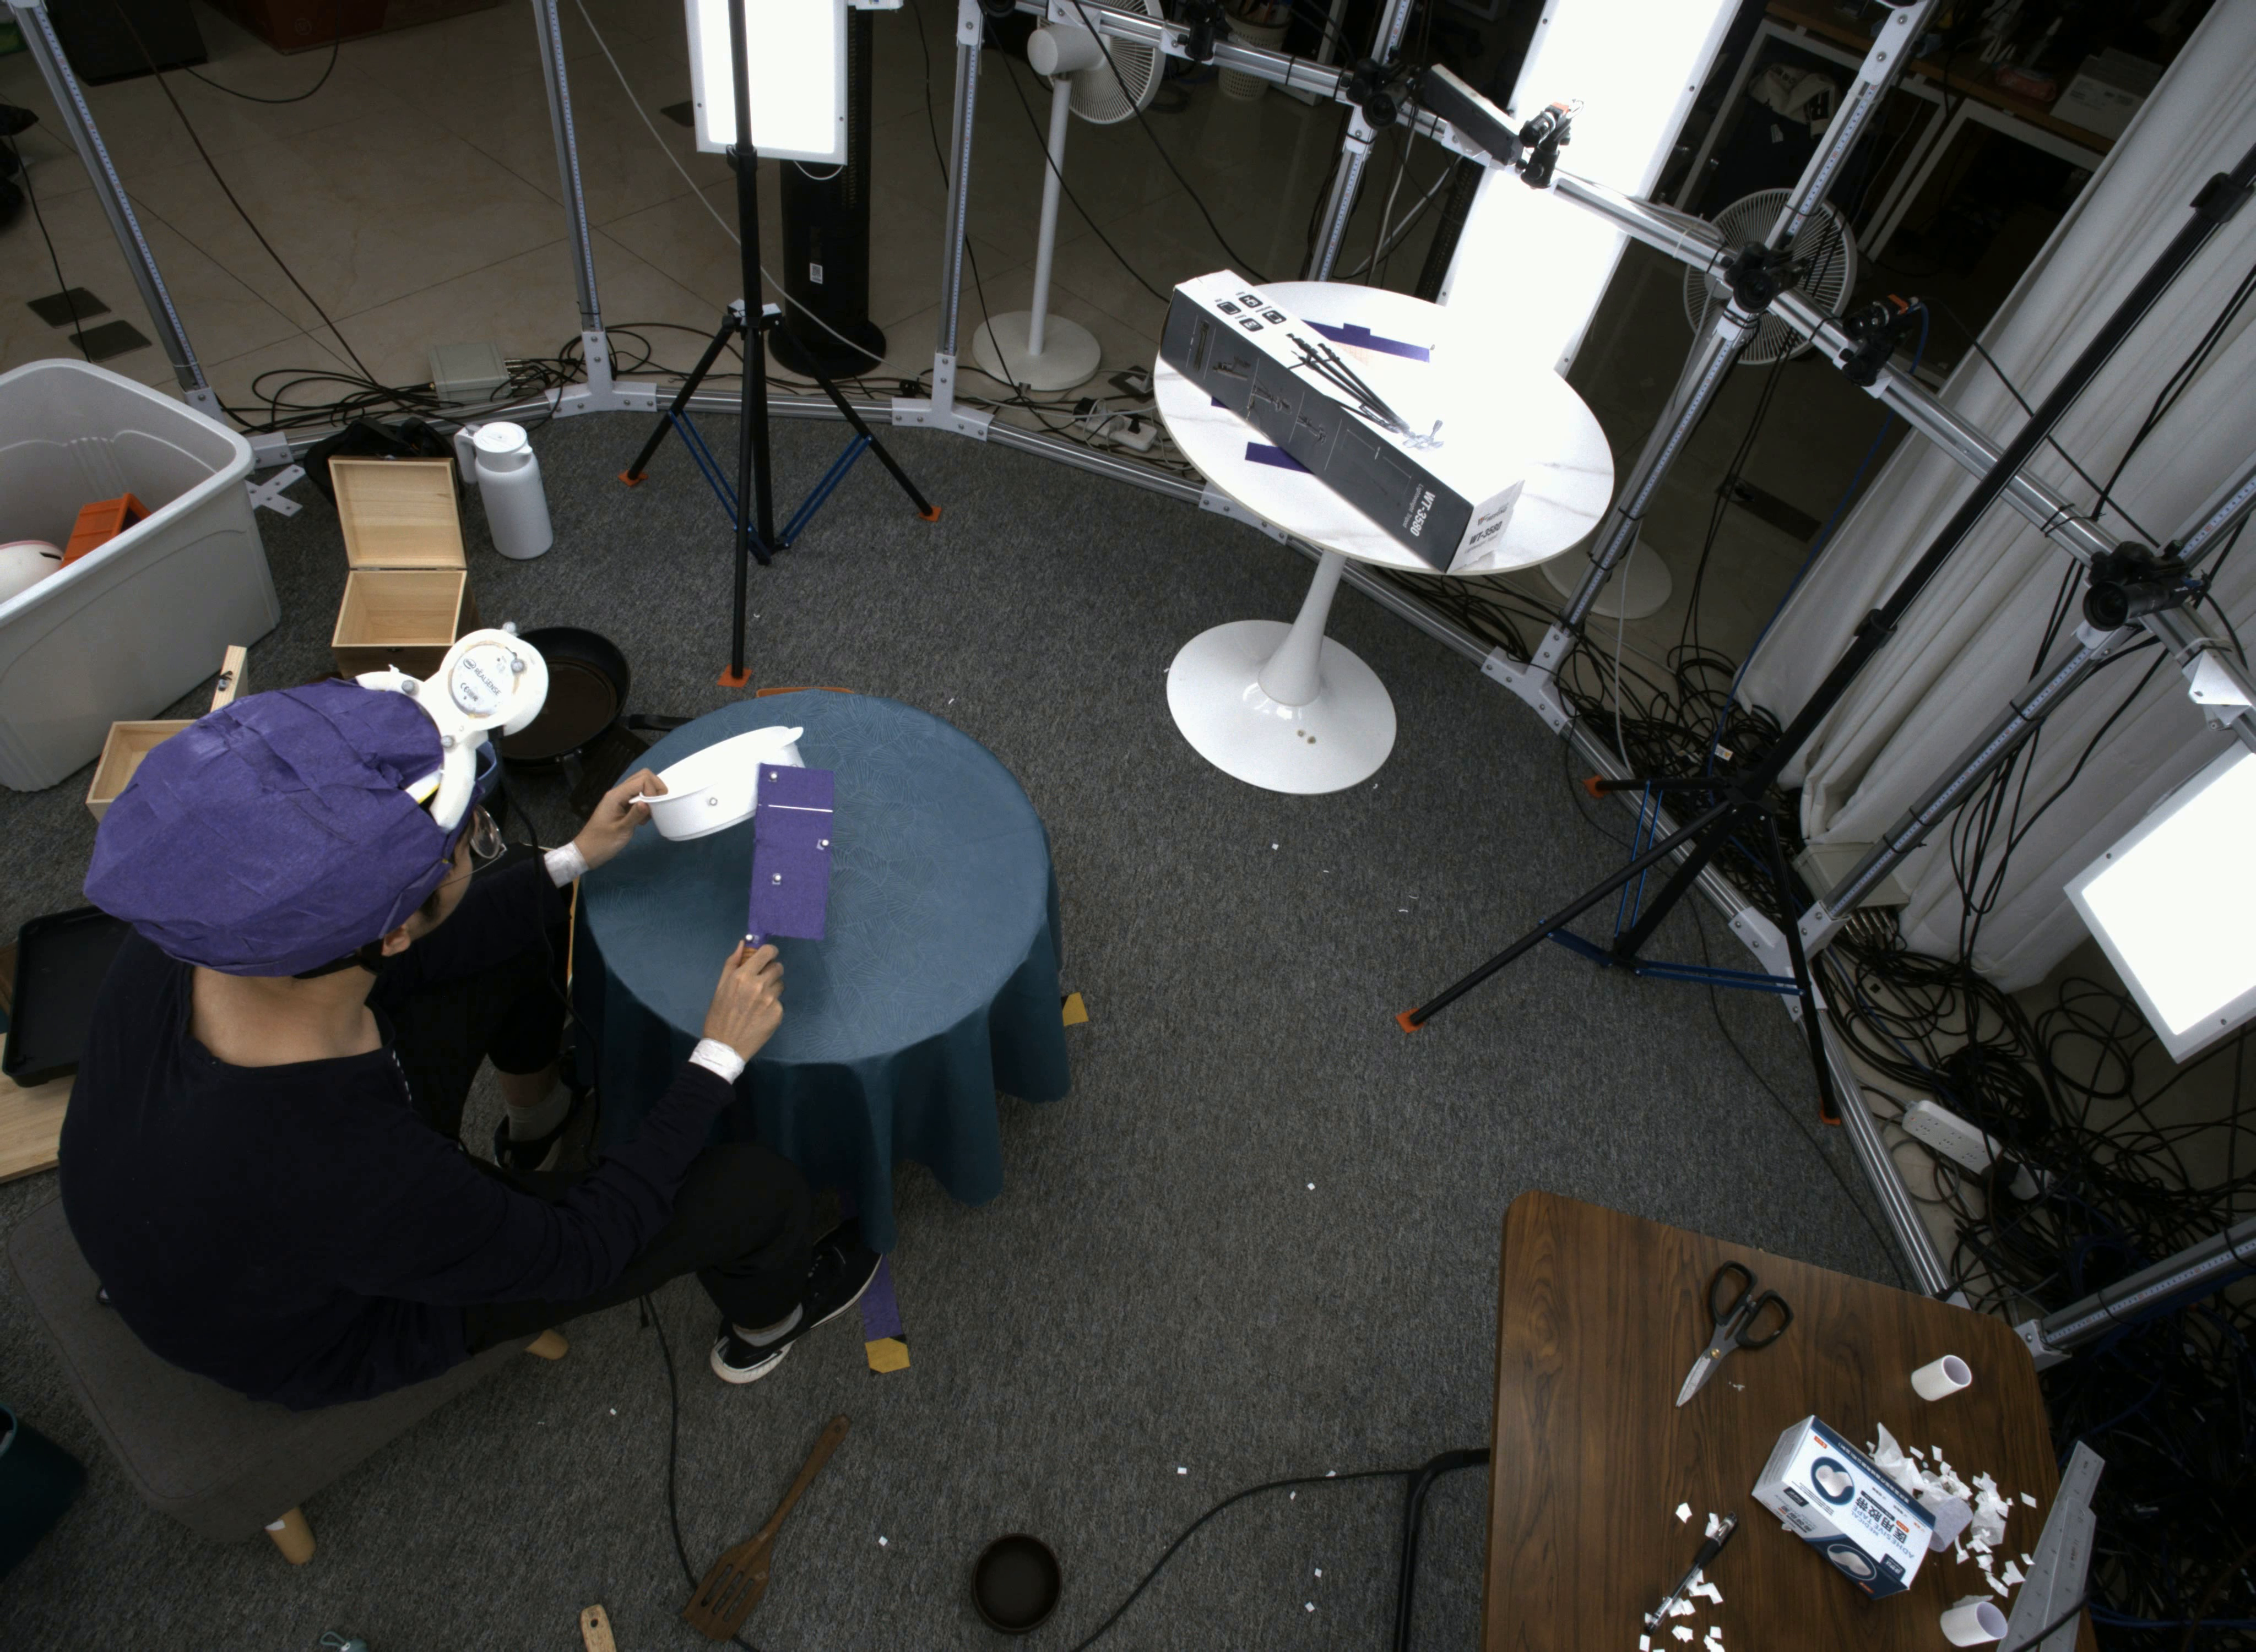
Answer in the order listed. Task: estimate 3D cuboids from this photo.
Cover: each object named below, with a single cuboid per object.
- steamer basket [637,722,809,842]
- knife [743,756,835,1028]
[{"bbox_3d":[-0.494,-0.054,1.605,0.229,0.071,0.197,-24,19,0],"label":"steamer basket"},{"bbox_3d":[-0.398,0.074,1.519,0.105,0.031,0.316,6,80,-28],"label":"knife"}]
